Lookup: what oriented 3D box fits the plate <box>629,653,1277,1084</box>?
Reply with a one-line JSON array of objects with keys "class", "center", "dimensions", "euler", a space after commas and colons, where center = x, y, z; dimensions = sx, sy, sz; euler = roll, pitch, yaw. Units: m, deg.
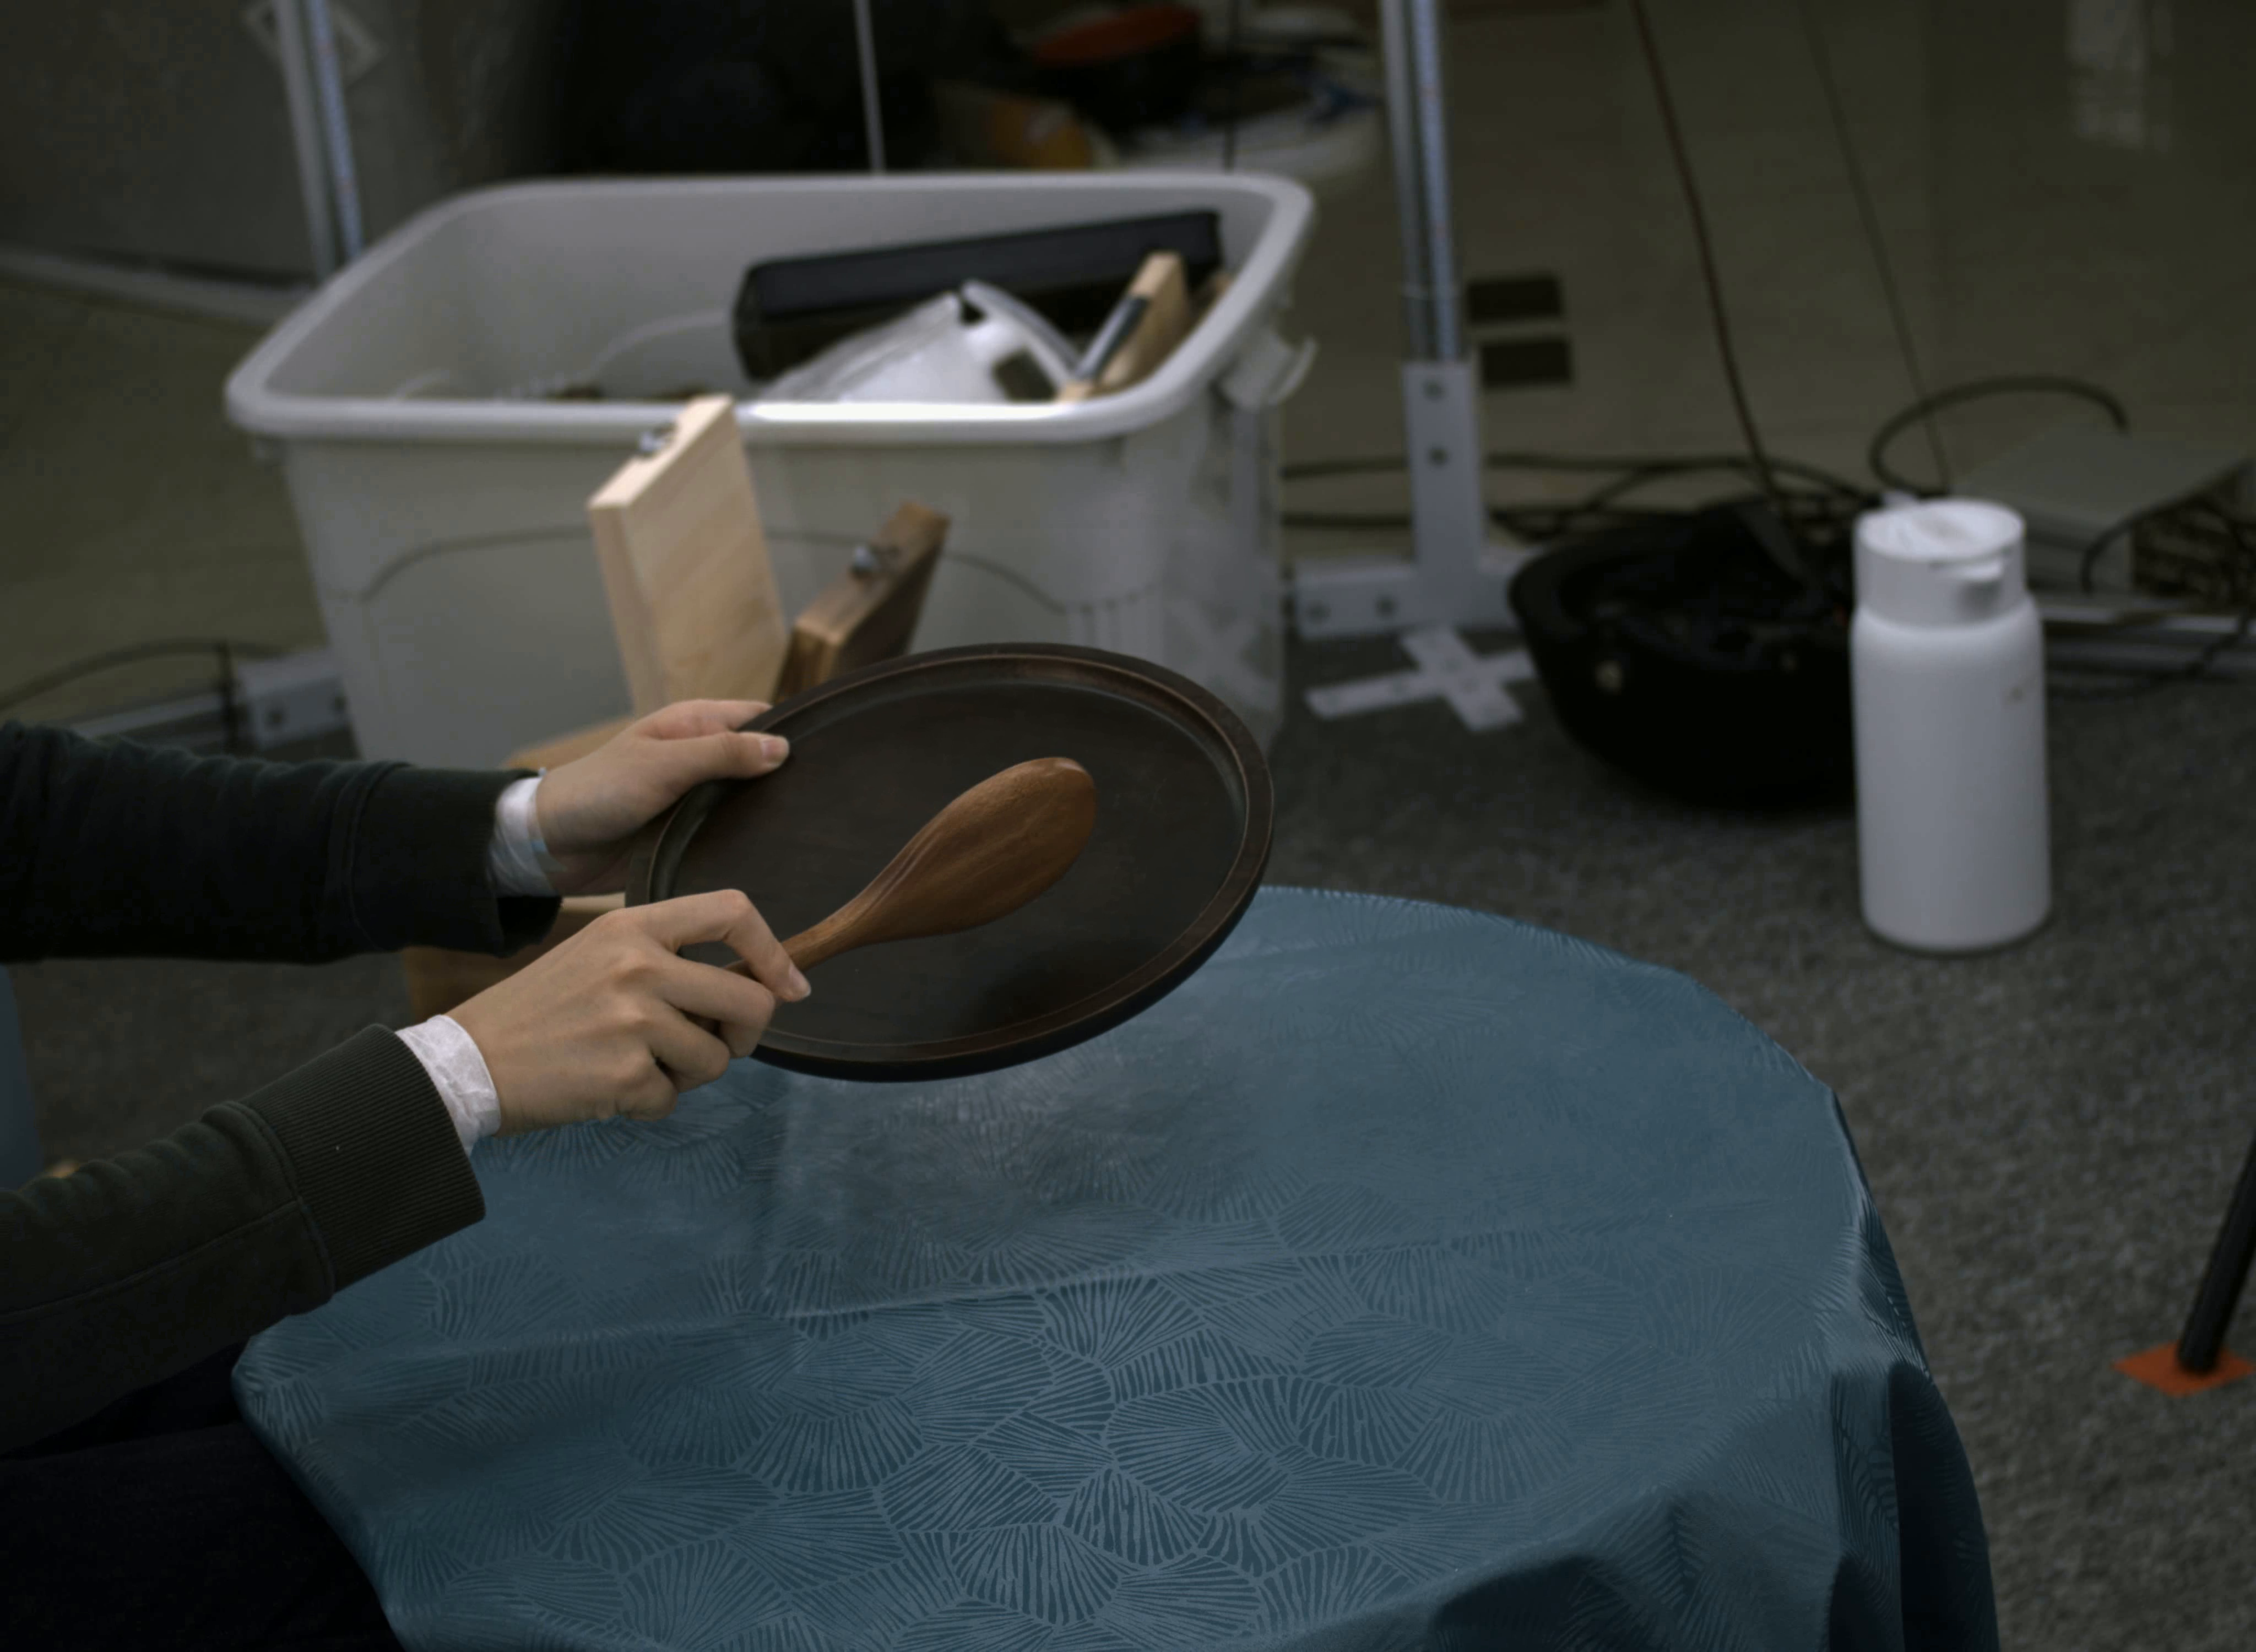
[{"class": "plate", "center": [-0.067, 0.014, 2.165], "dimensions": [0.254, 0.029, 0.250], "euler": [-7, 38, 5]}]

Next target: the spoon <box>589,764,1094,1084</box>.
[{"class": "spoon", "center": [-0.100, 0.039, 2.056], "dimensions": [0.214, 0.077, 0.017], "euler": [-27, 57, -20]}]
